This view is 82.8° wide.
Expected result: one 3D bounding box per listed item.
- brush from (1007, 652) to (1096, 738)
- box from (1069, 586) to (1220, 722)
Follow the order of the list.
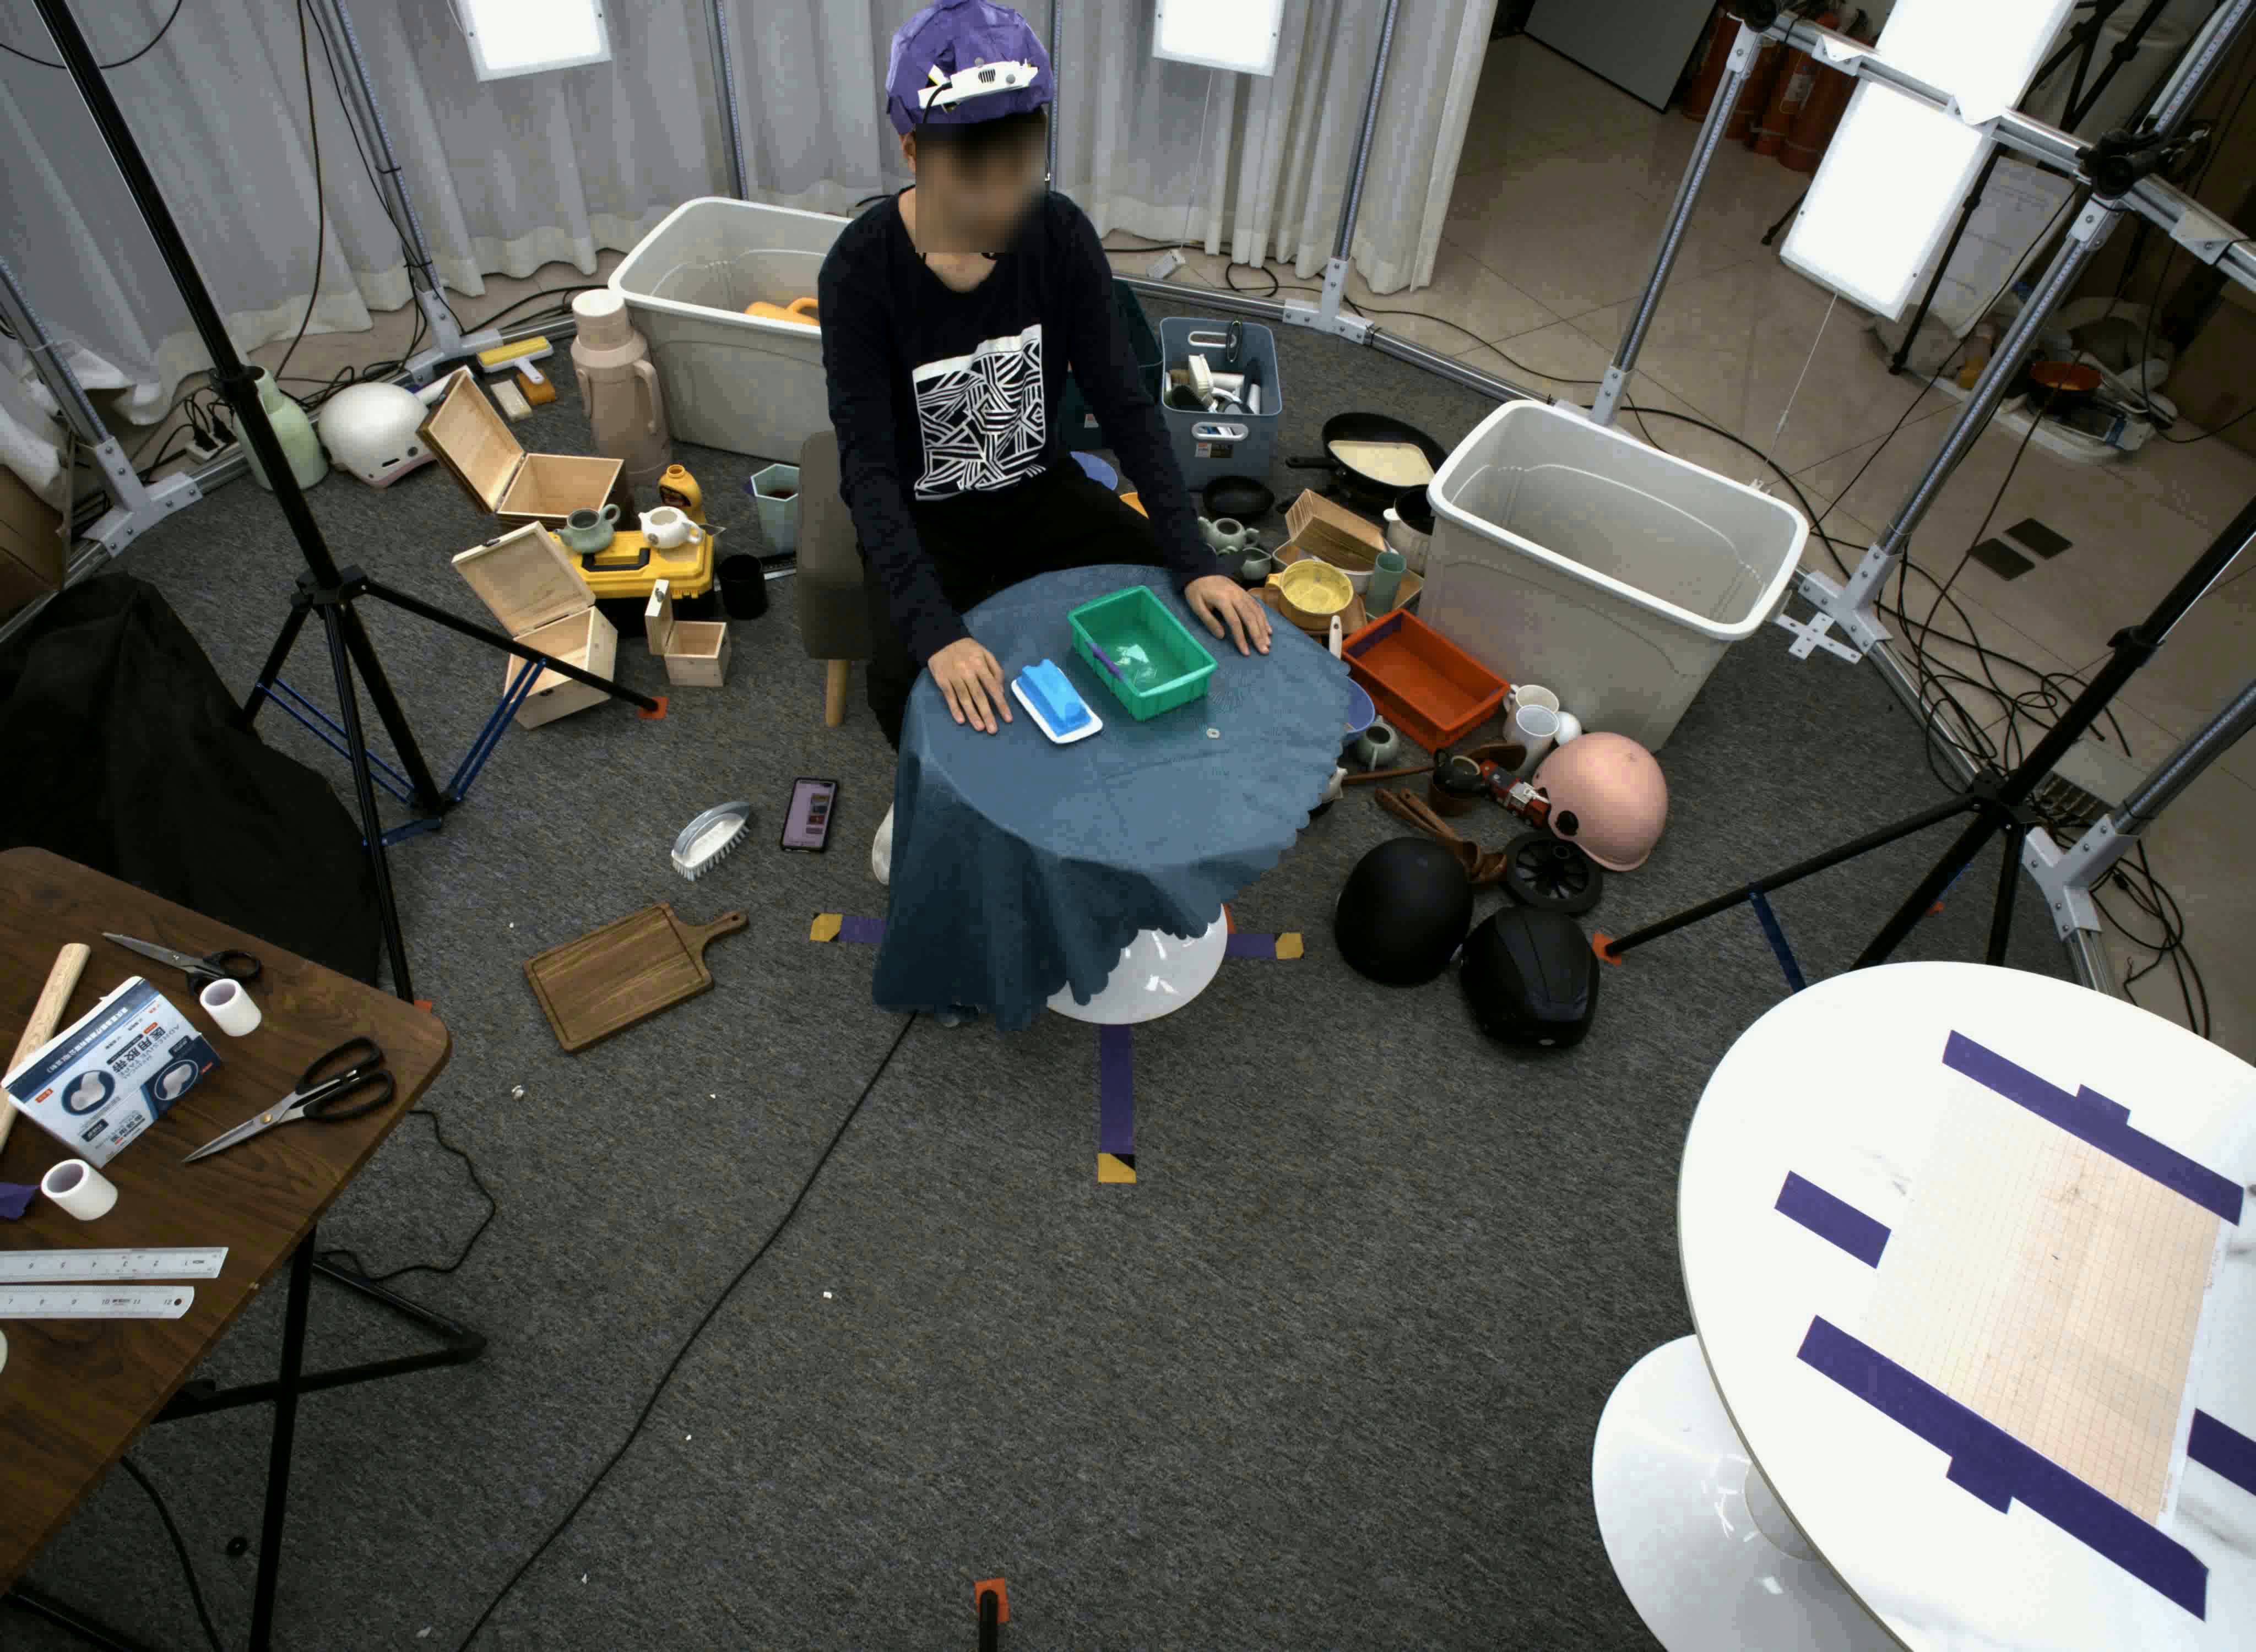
[{"bbox_3d":[-0.105,-0.189,1.781,0.084,0.054,0.147,-20,58,-22],"label":"brush"},{"bbox_3d":[0.021,-0.245,1.842,0.139,0.064,0.214,-26,56,-21],"label":"box"}]
